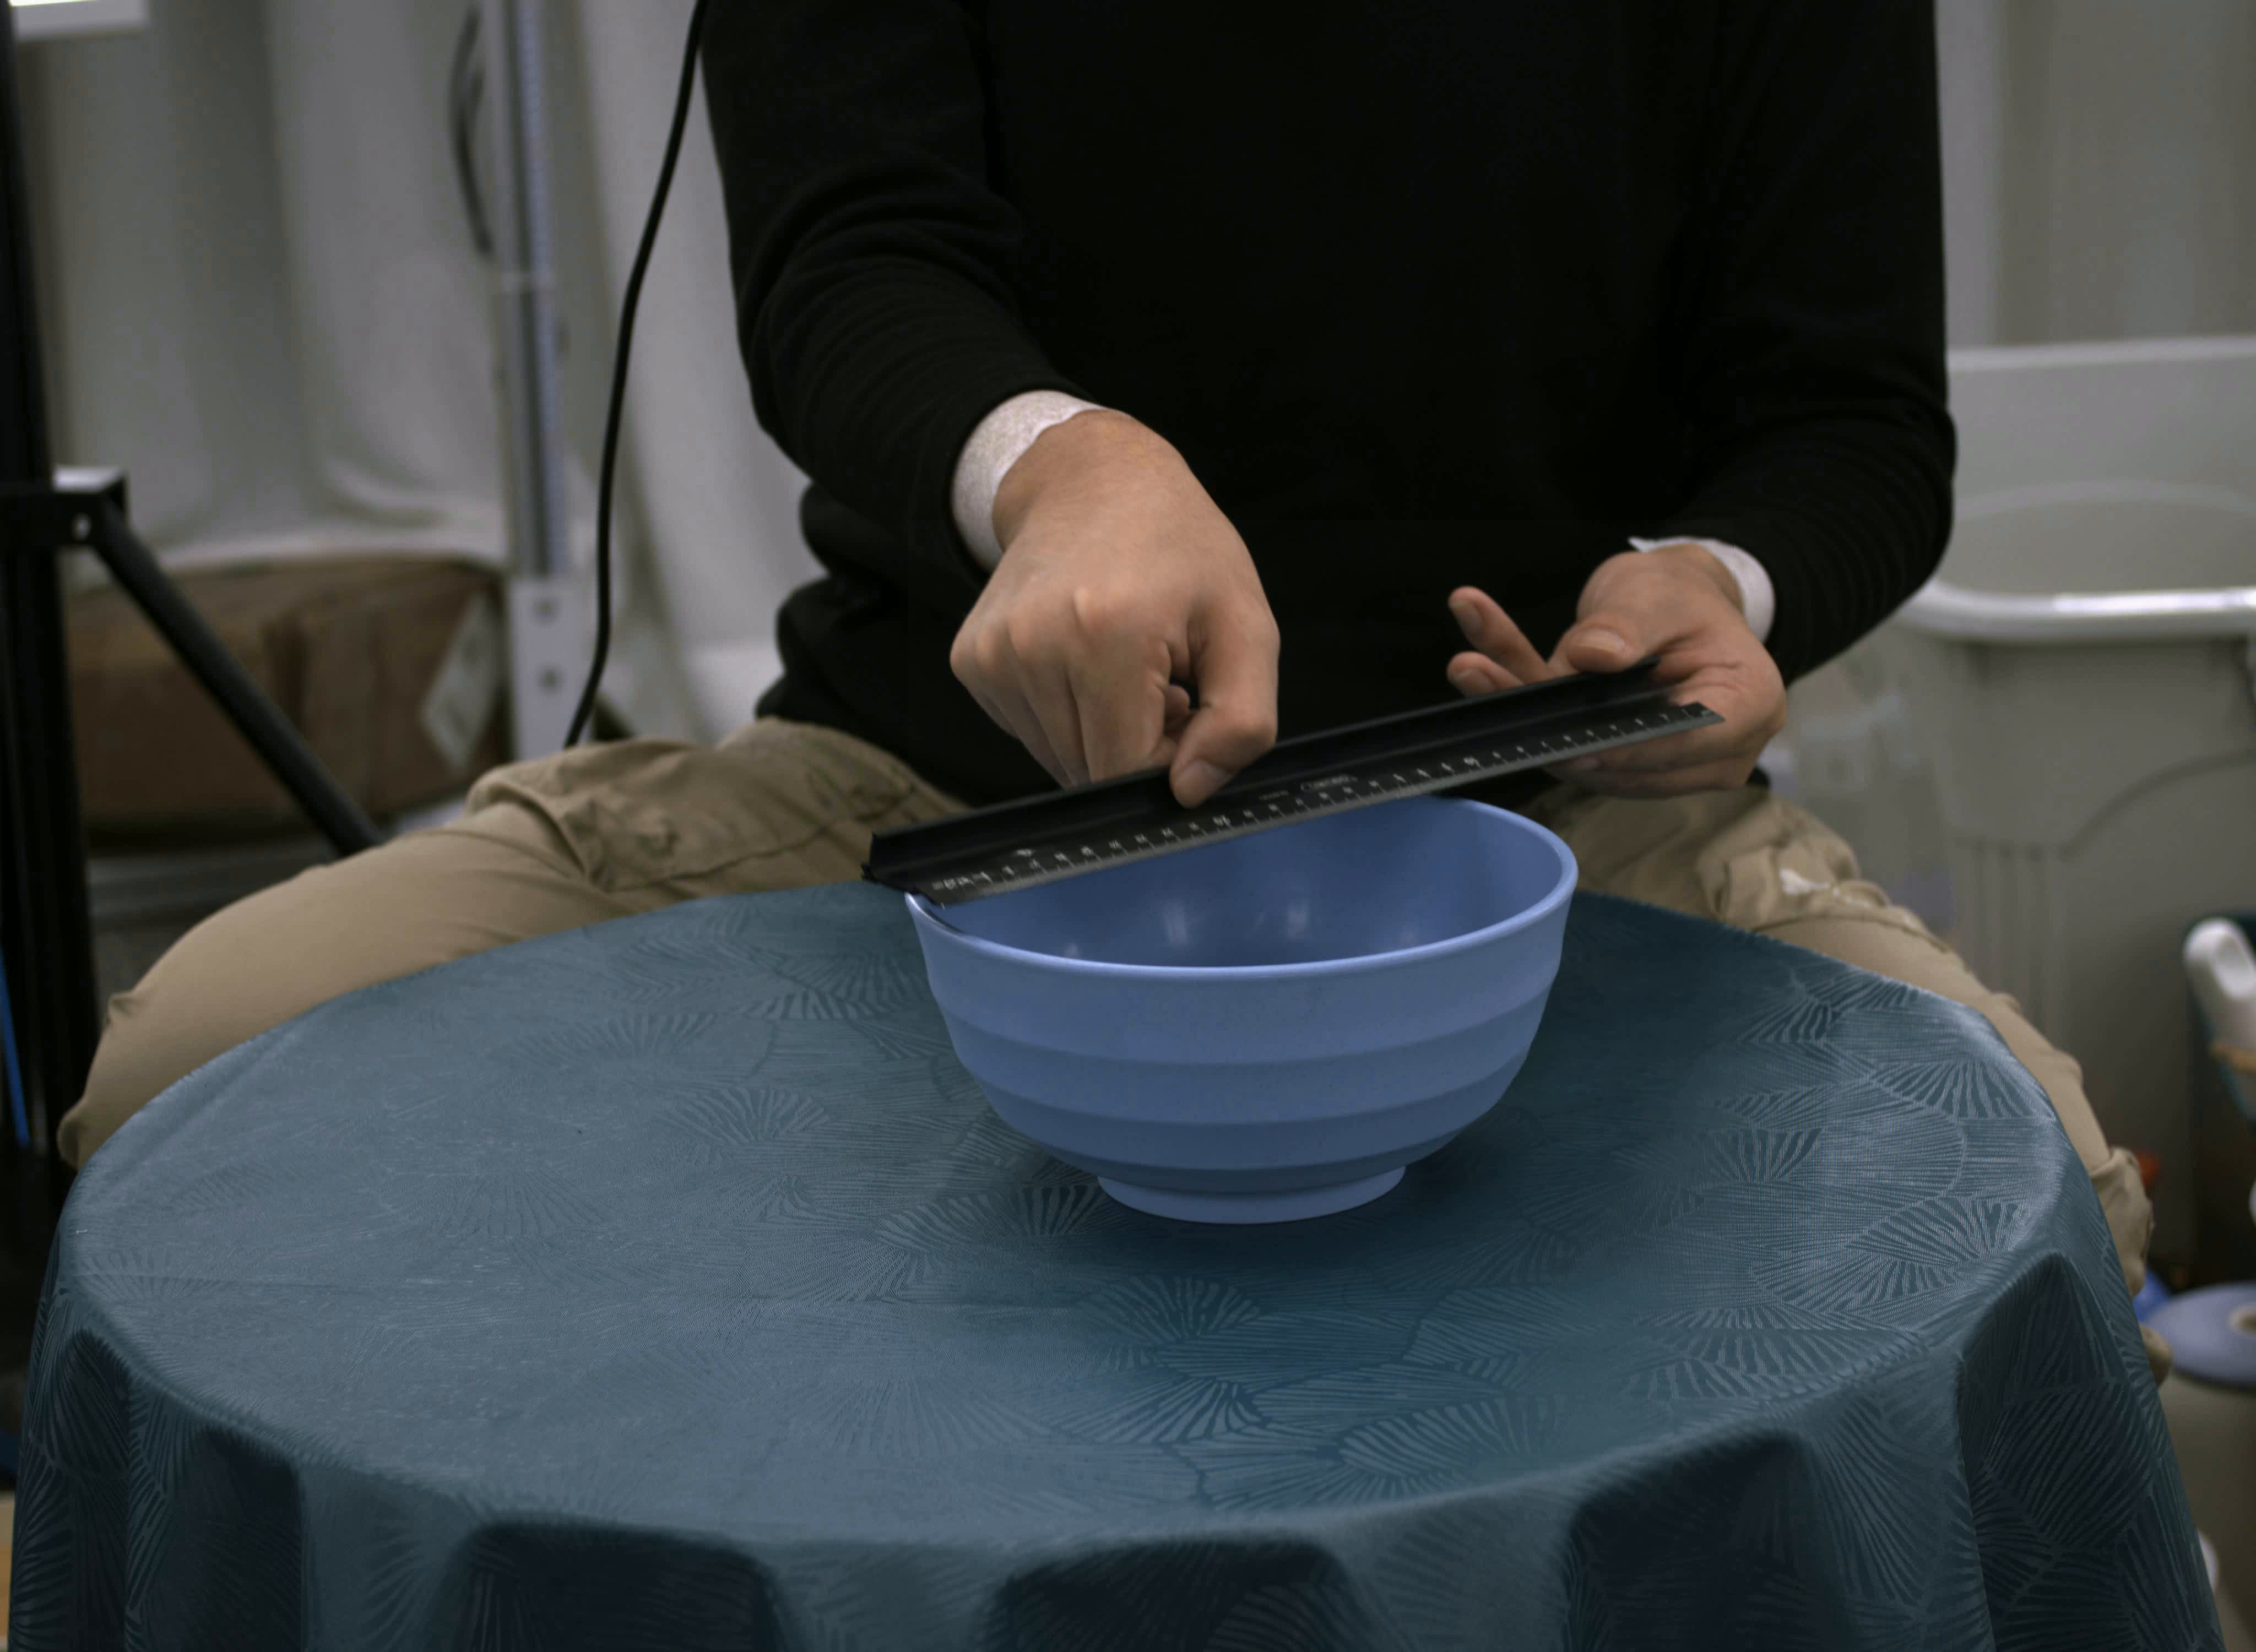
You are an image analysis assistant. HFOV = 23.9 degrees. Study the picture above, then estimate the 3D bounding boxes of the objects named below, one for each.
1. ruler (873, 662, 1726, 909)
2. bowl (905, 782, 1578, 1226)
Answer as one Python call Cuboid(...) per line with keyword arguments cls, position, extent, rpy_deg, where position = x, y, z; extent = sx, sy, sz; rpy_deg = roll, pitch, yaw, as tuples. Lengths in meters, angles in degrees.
Cuboid(cls="ruler", position=(0.058, -0.014, 1.587), extent=(0.305, 0.017, 0.040), rpy_deg=(-13, 24, -36))
Cuboid(cls="bowl", position=(0.034, 0.057, 1.556), extent=(0.195, 0.095, 0.197), rpy_deg=(-2, 16, -1))
